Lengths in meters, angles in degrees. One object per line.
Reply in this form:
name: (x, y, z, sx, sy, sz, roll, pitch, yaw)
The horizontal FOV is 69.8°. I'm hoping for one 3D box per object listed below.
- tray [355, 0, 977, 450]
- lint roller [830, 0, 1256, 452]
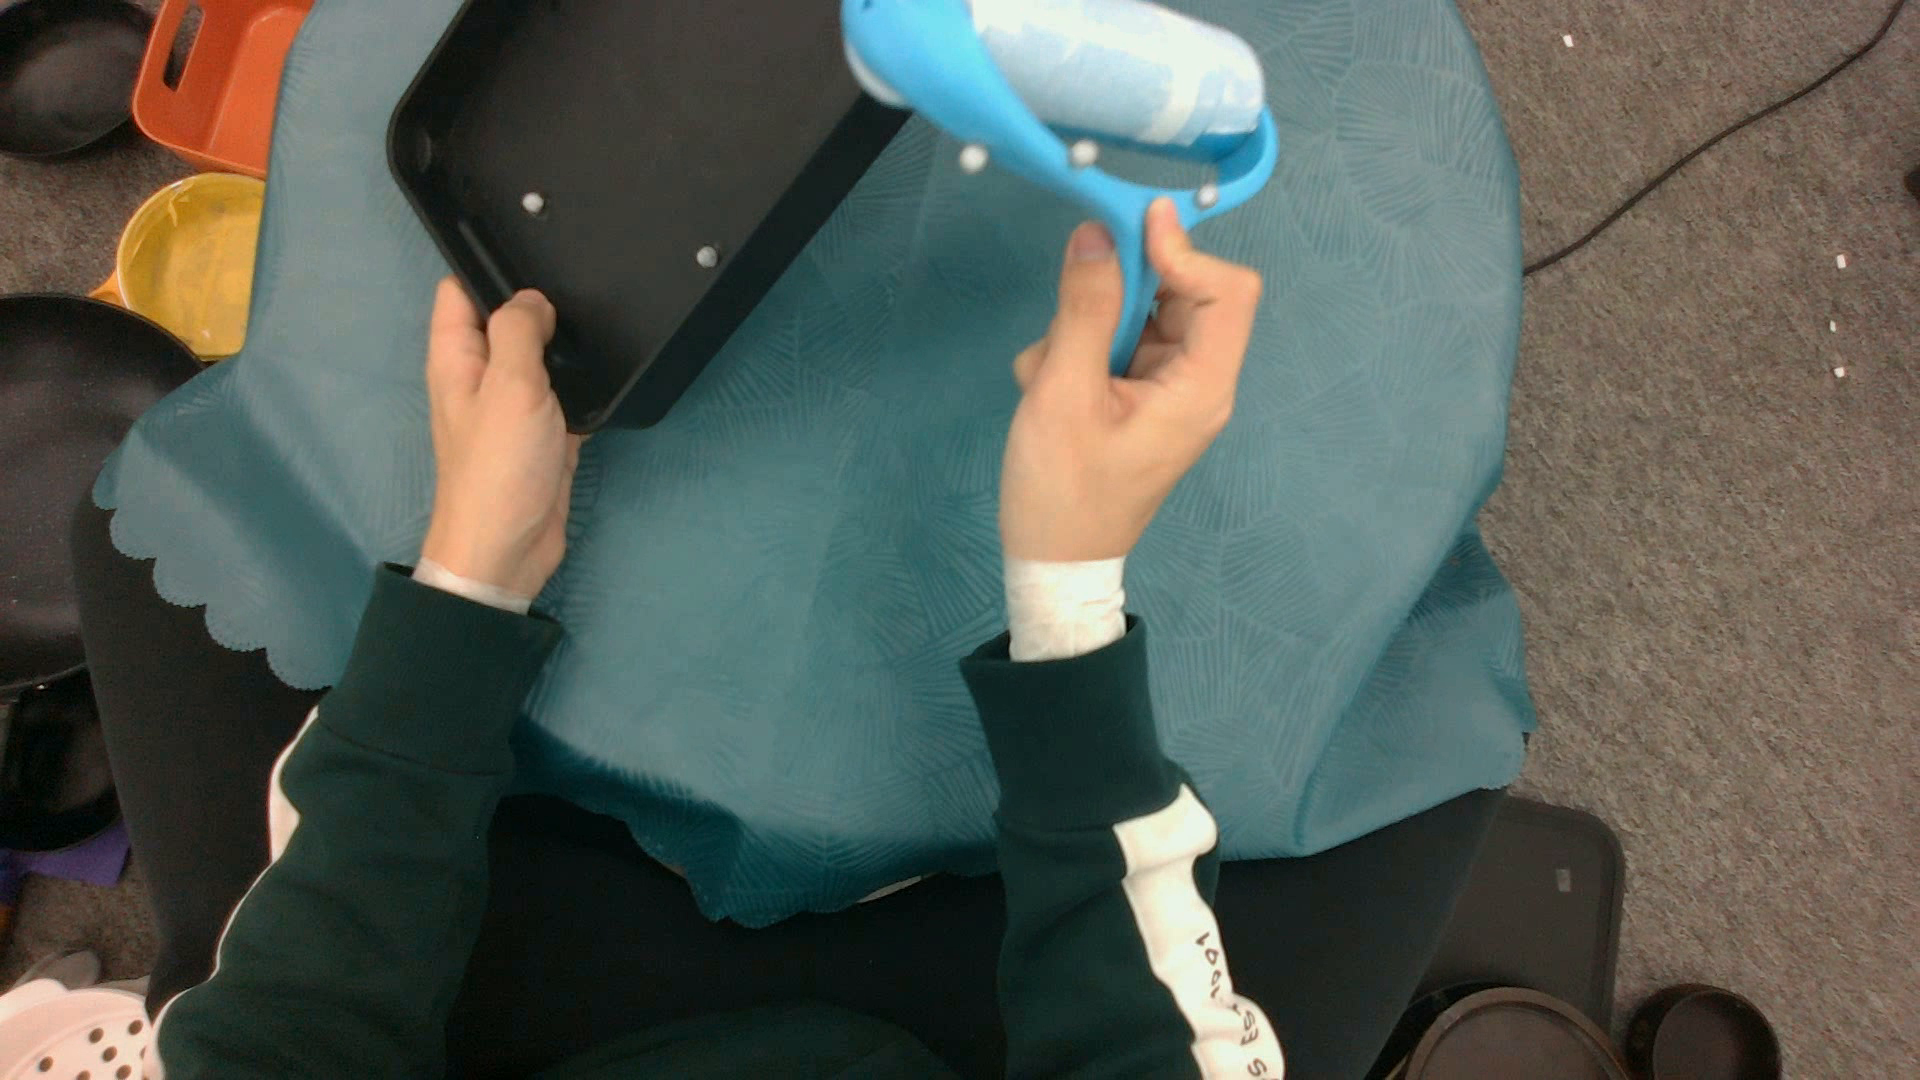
tray: (-0.109, -0.202, 0.538, 0.317, 0.037, 0.184, -47, 72, 21)
lint roller: (0.040, -0.121, 0.503, 0.068, 0.230, 0.180, 5, 103, 35)
